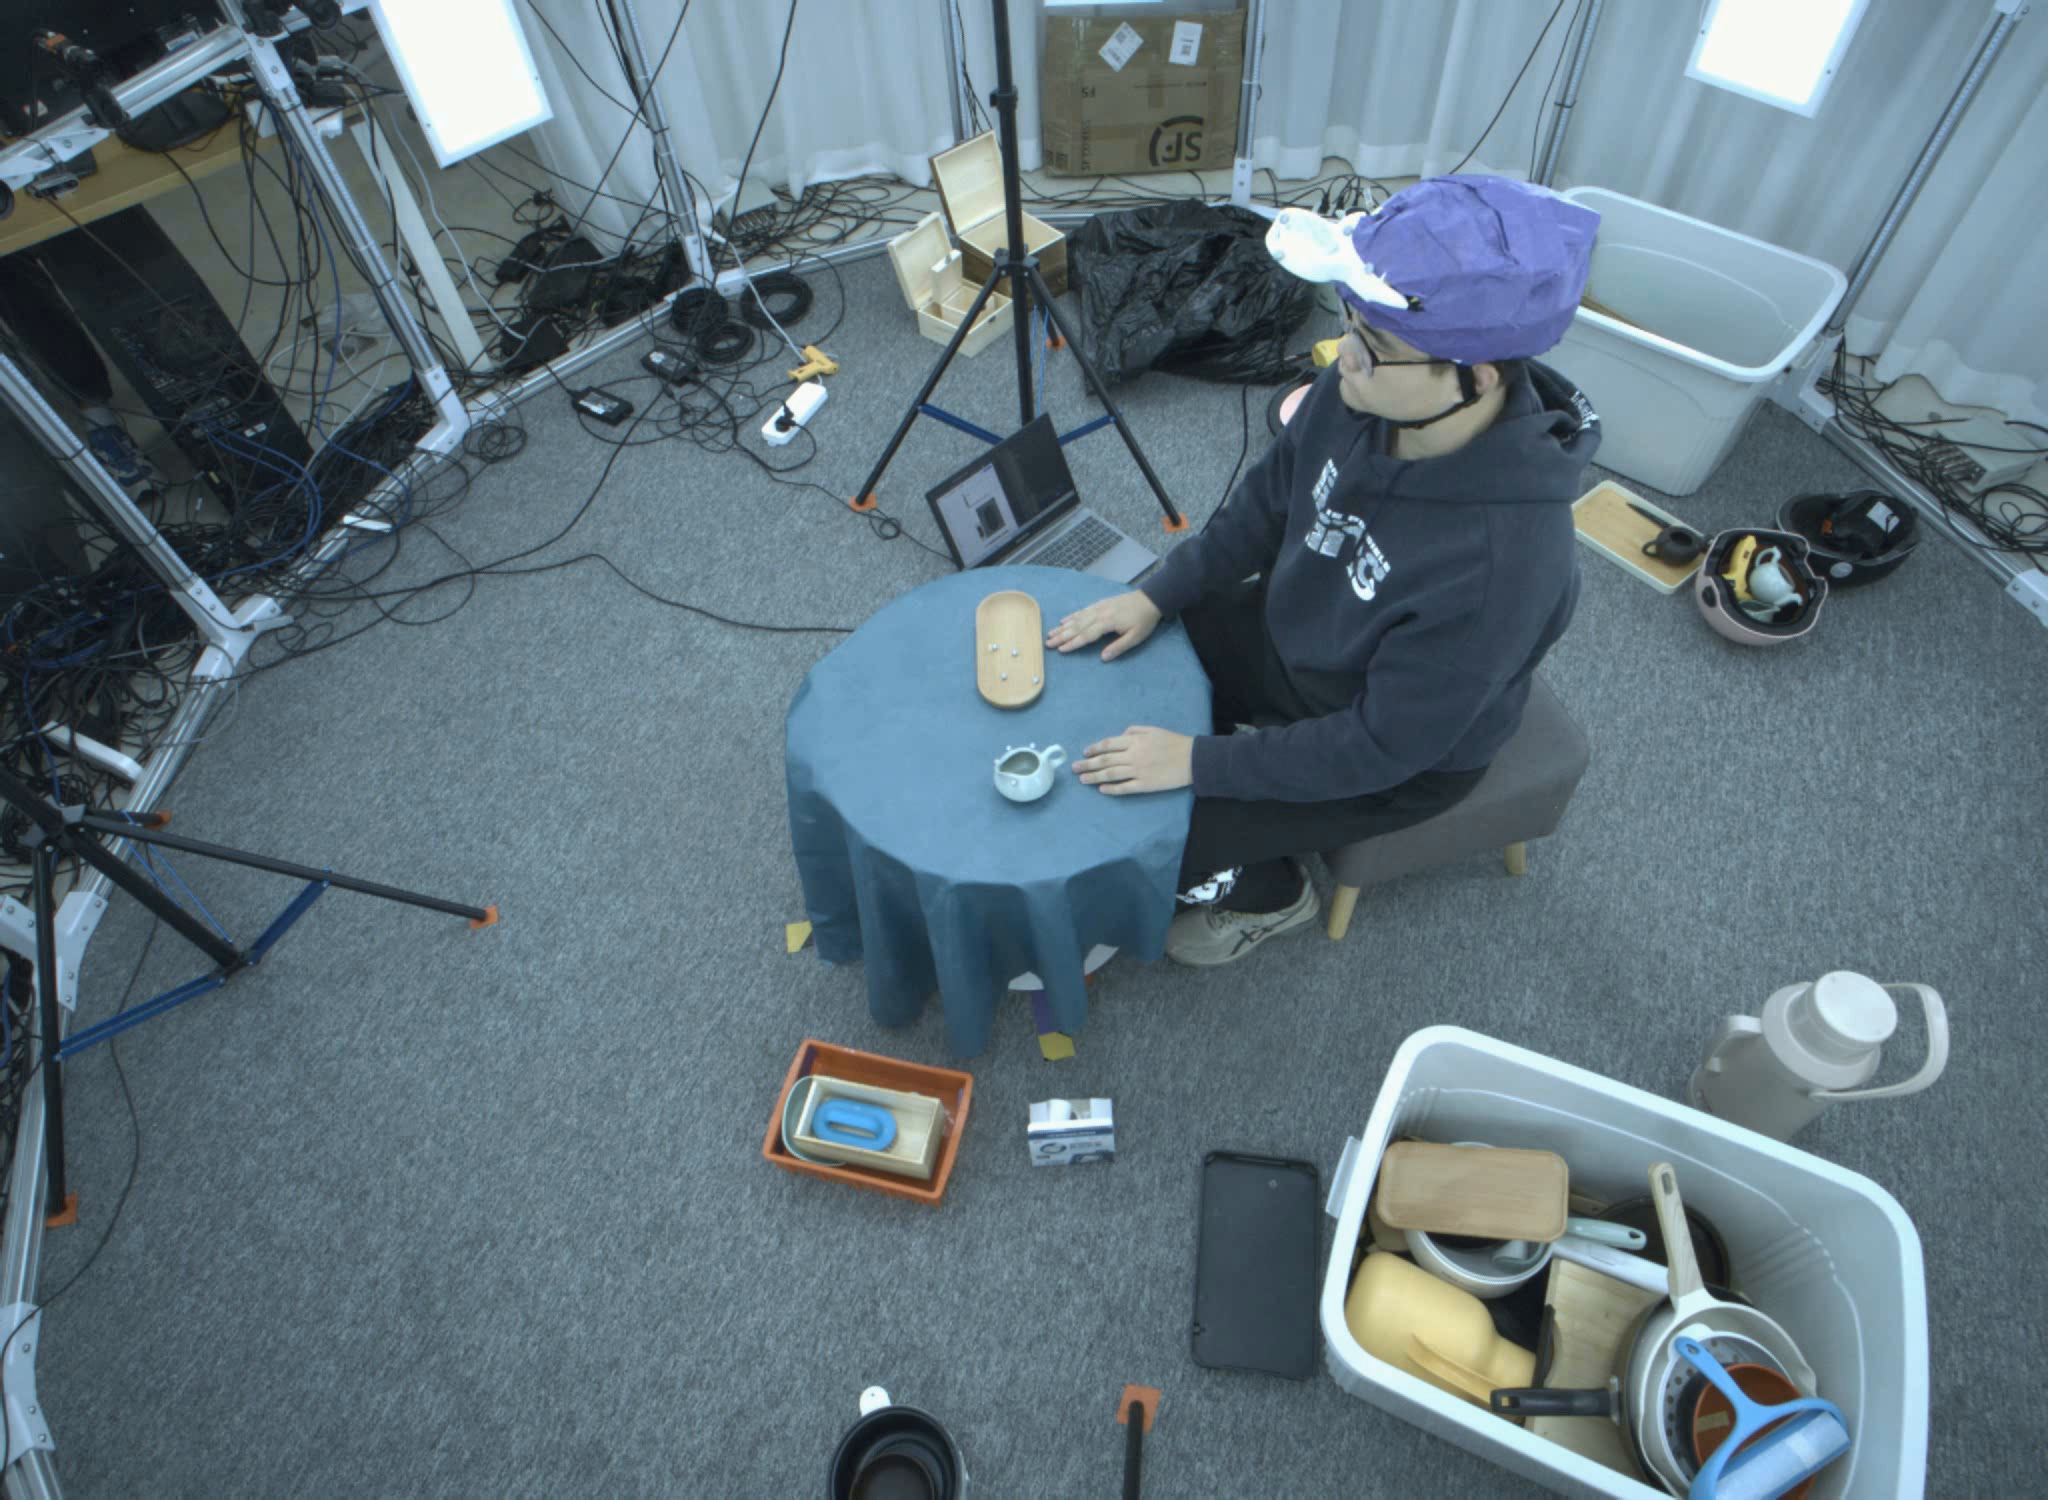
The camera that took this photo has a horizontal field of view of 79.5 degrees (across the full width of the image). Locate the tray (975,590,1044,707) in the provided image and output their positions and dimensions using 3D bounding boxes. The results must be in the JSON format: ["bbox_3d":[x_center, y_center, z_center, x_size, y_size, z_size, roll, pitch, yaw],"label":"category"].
[{"bbox_3d":[-0.023,-0.159,1.891,0.102,0.020,0.228,-2,53,-2],"label":"tray"}]

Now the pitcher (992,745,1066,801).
[{"bbox_3d":[0.008,0.026,1.735,0.109,0.061,0.084,-20,57,-14],"label":"pitcher"}]
